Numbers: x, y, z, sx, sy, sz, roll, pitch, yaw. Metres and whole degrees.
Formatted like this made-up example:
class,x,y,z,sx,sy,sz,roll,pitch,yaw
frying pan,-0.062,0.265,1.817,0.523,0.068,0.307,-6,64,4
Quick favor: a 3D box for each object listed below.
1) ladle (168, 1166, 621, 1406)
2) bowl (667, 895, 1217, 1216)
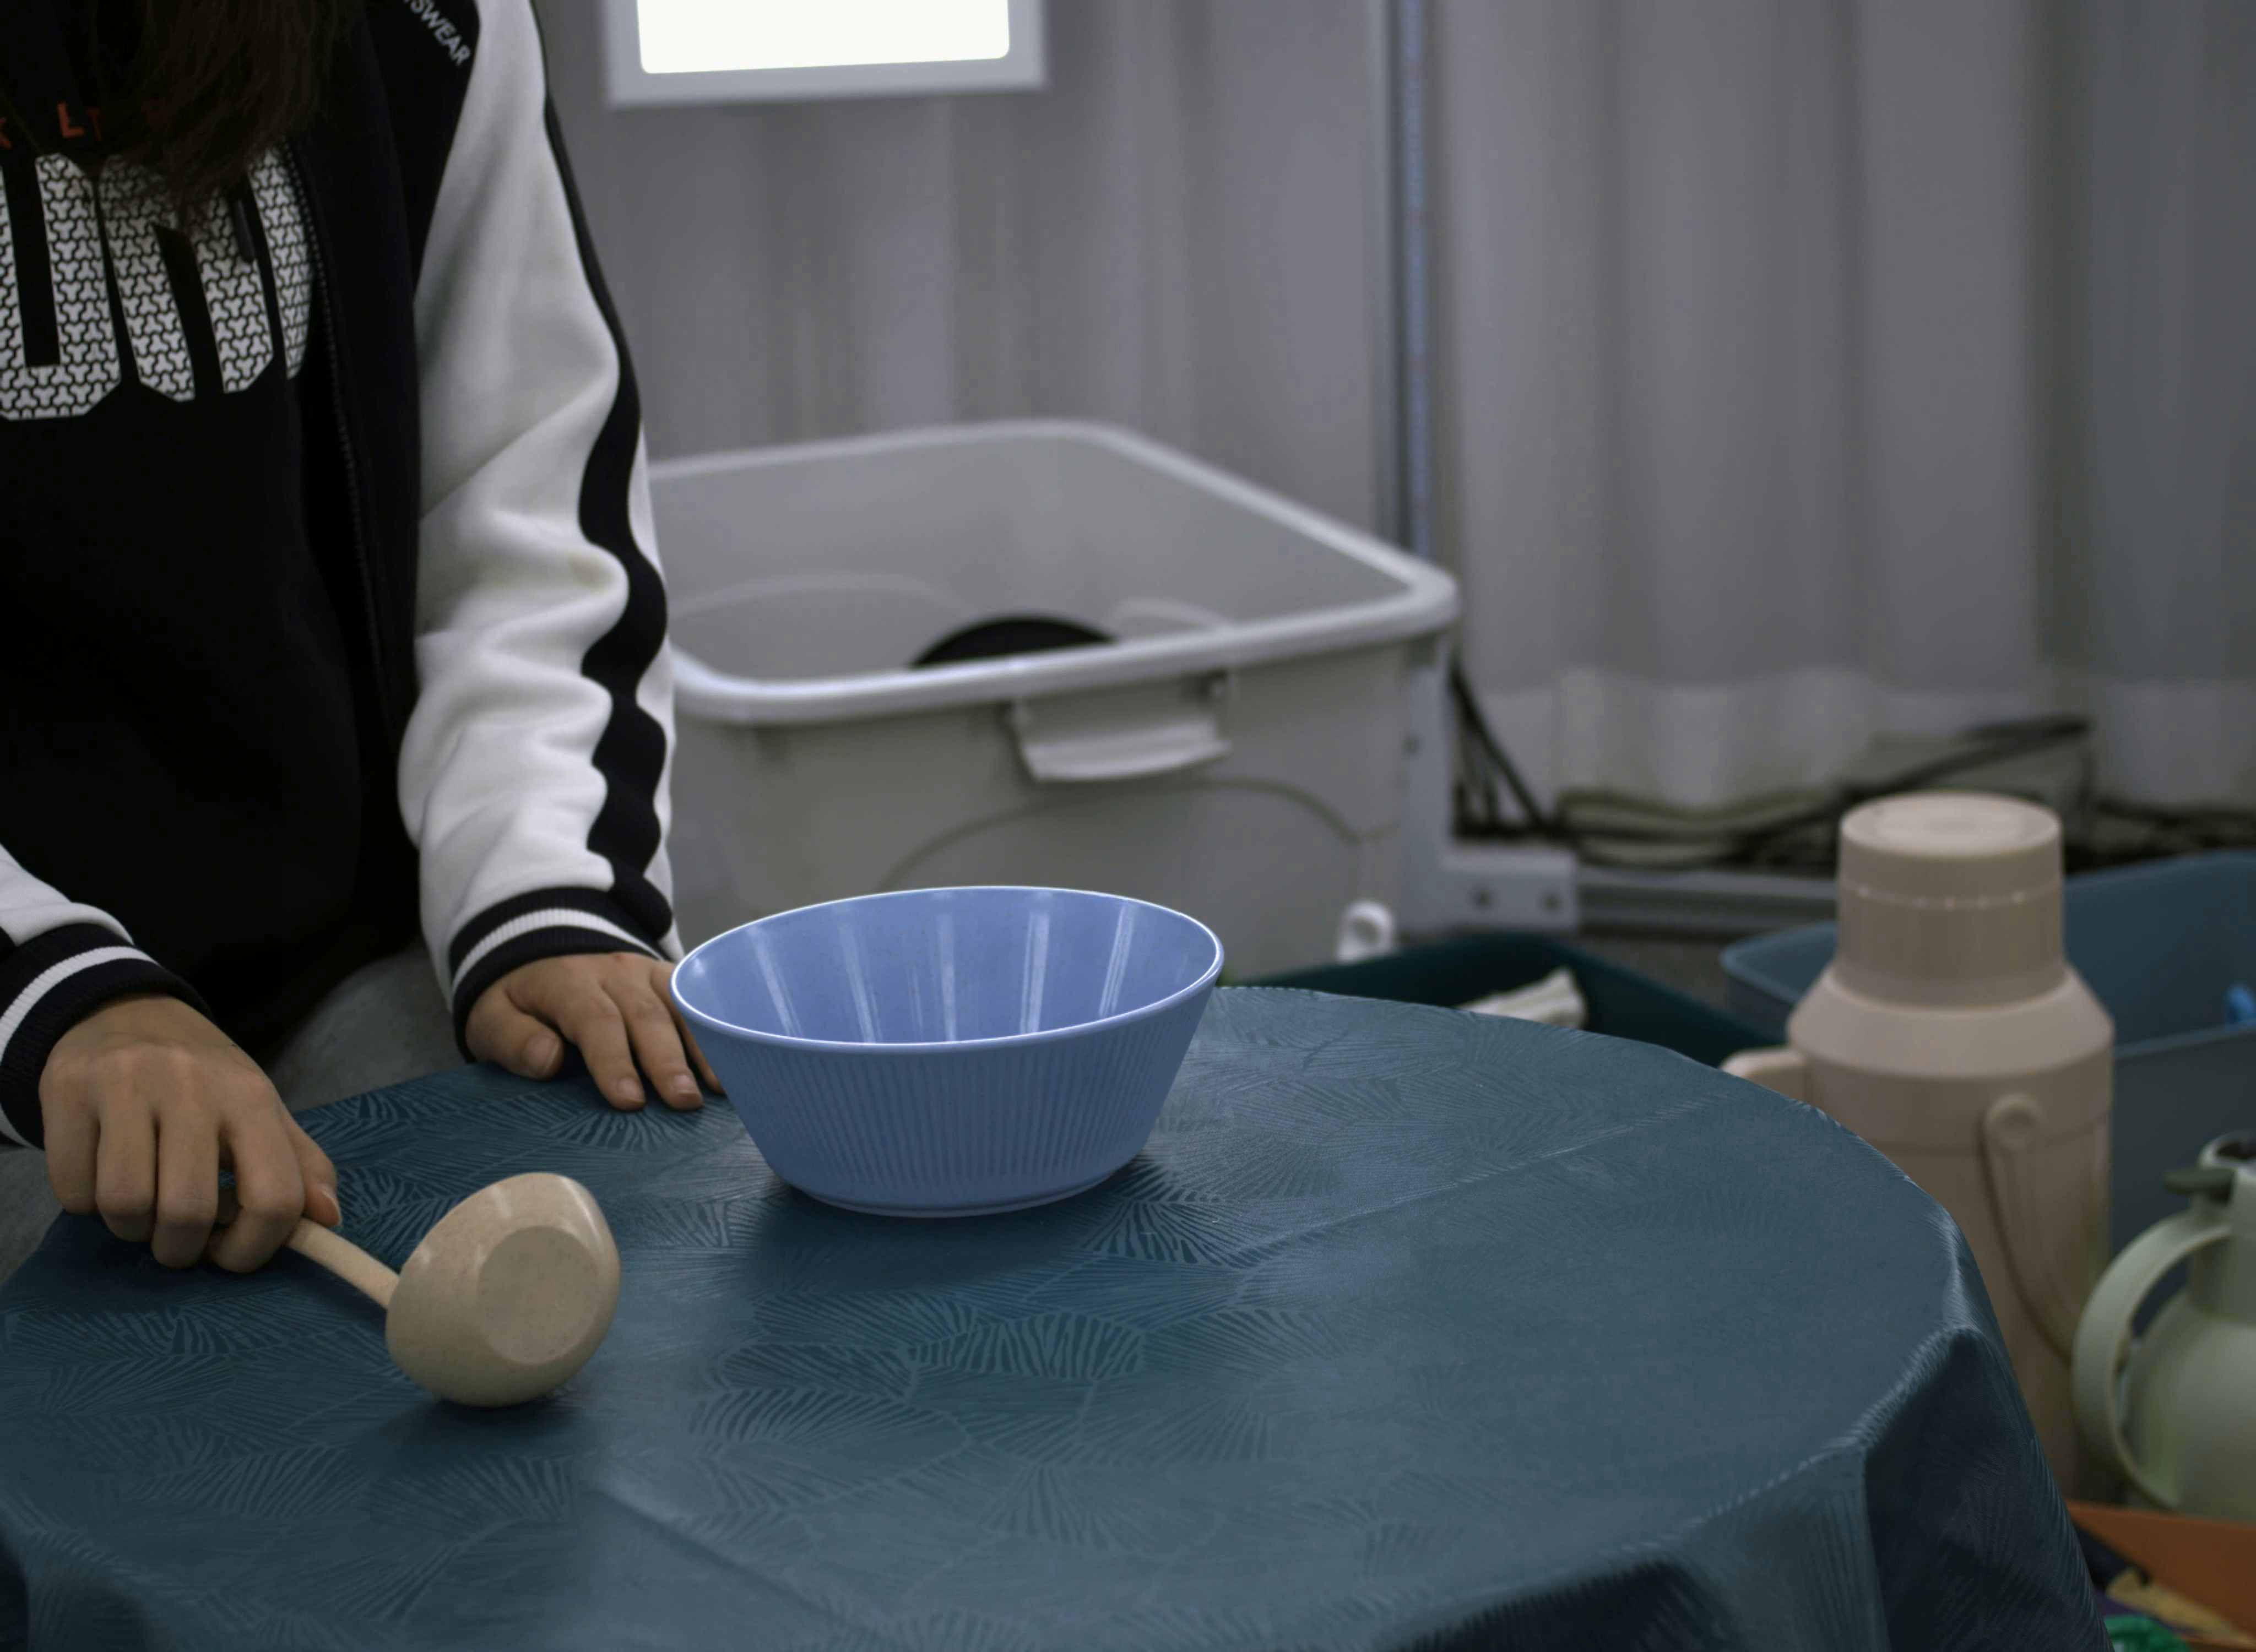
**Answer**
class,x,y,z,sx,sy,sz,roll,pitch,yaw
ladle,-0.235,0.112,1.630,0.072,0.072,0.256,-24,23,-30
bowl,-0.058,0.075,1.739,0.175,0.070,0.177,-2,14,0
